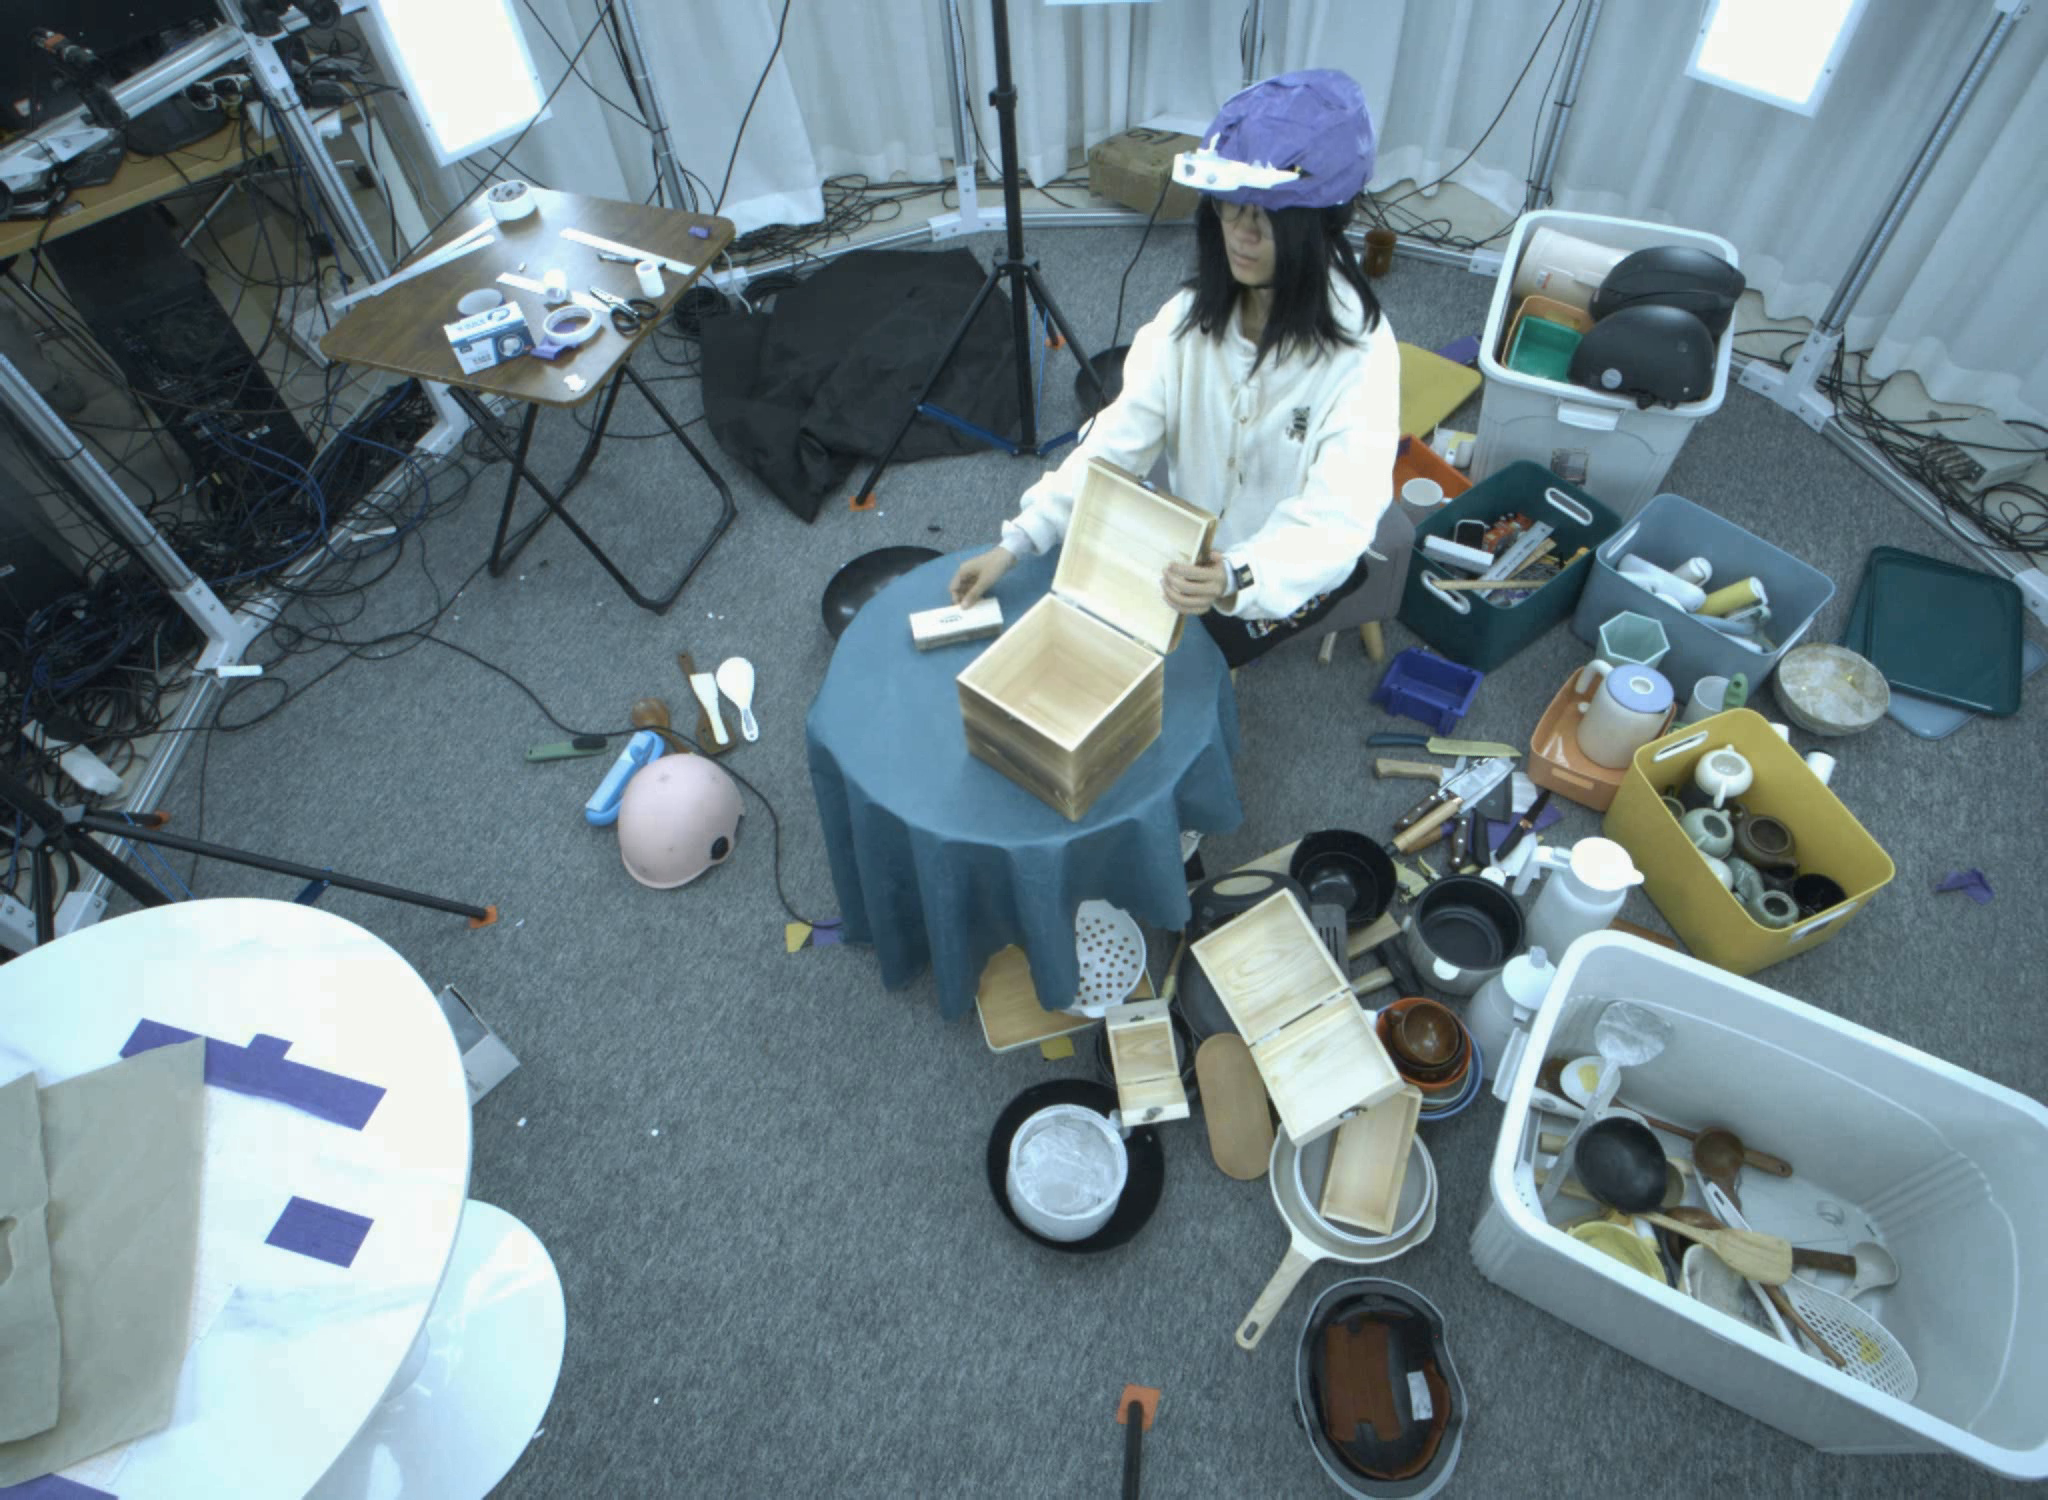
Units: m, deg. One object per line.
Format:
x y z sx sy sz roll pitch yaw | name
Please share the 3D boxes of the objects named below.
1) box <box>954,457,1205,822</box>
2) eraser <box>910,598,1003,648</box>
0.077 -0.151 1.668 0.205 0.380 0.324 32 62 24 | box
-0.105 -0.198 1.913 0.140 0.029 0.056 -10 53 -6 | eraser
